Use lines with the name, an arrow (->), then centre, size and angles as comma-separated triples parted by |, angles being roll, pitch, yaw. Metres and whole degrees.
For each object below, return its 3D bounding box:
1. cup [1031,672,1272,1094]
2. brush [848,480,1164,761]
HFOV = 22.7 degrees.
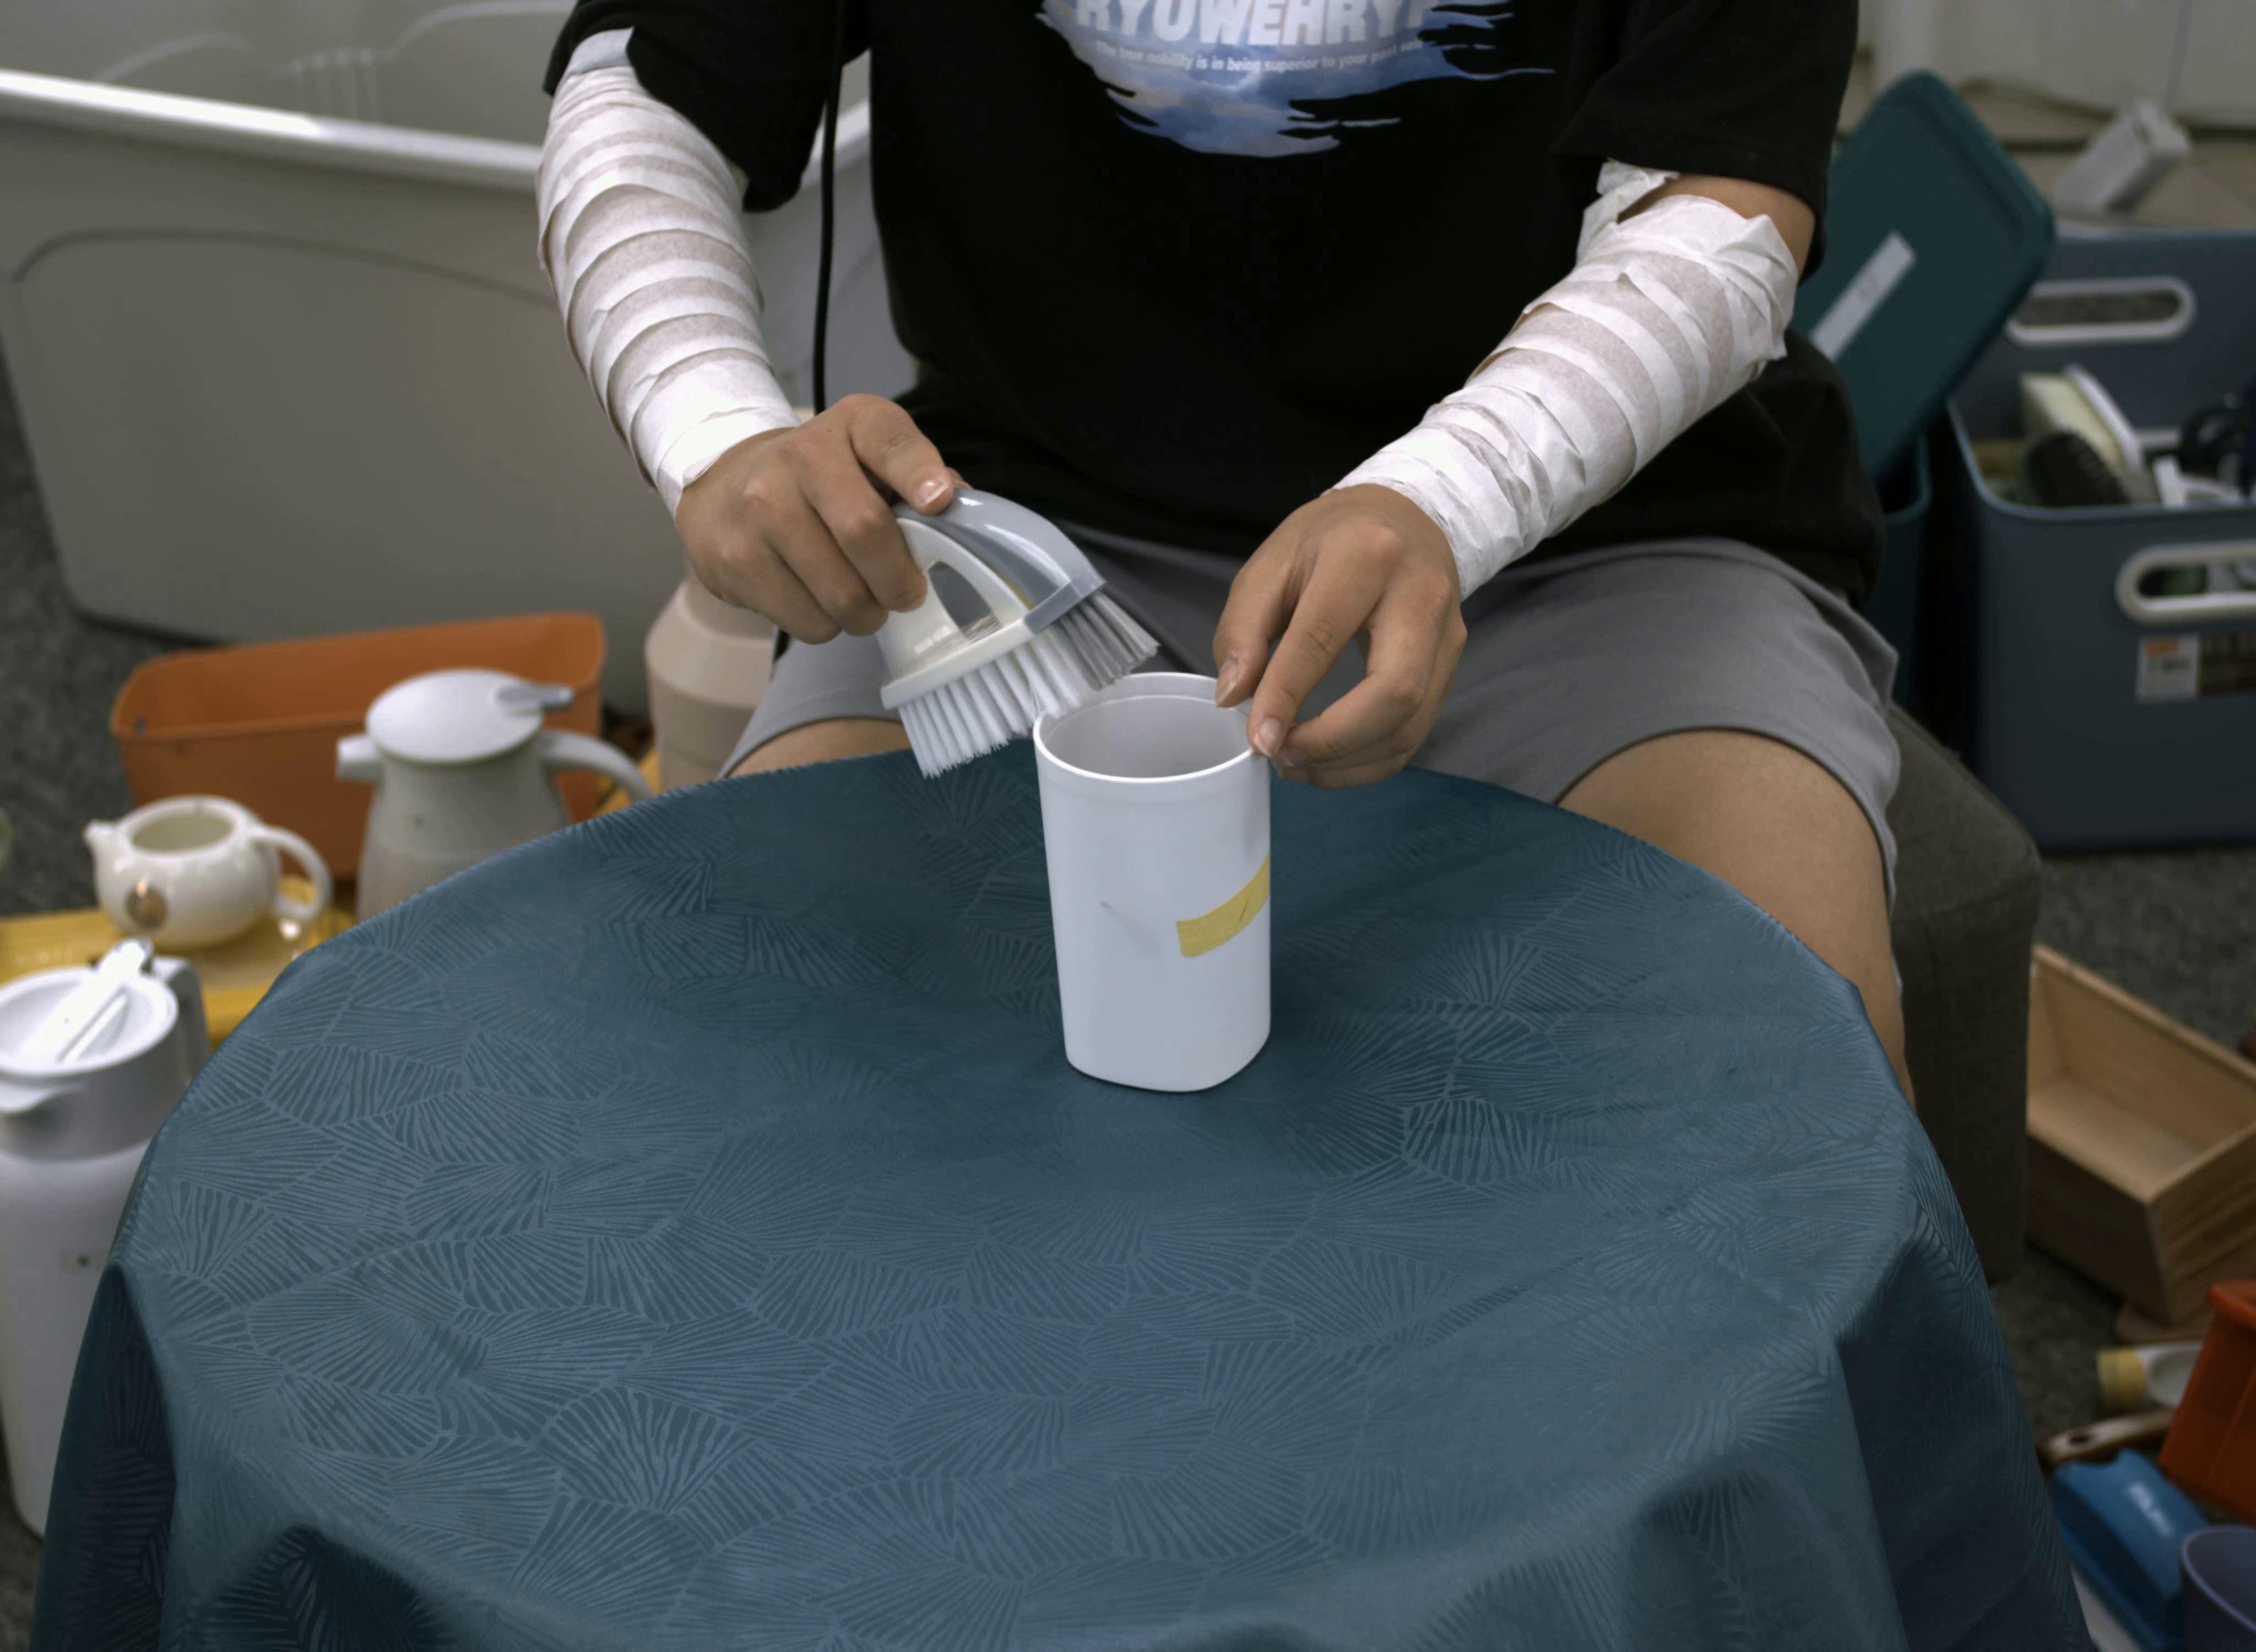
cup -> 0.012, 0.021, 1.922 | 0.081, 0.124, 0.083 | -3, 27, 2
brush -> -0.046, -0.081, 1.945 | 0.062, 0.094, 0.174 | -40, 9, -21
